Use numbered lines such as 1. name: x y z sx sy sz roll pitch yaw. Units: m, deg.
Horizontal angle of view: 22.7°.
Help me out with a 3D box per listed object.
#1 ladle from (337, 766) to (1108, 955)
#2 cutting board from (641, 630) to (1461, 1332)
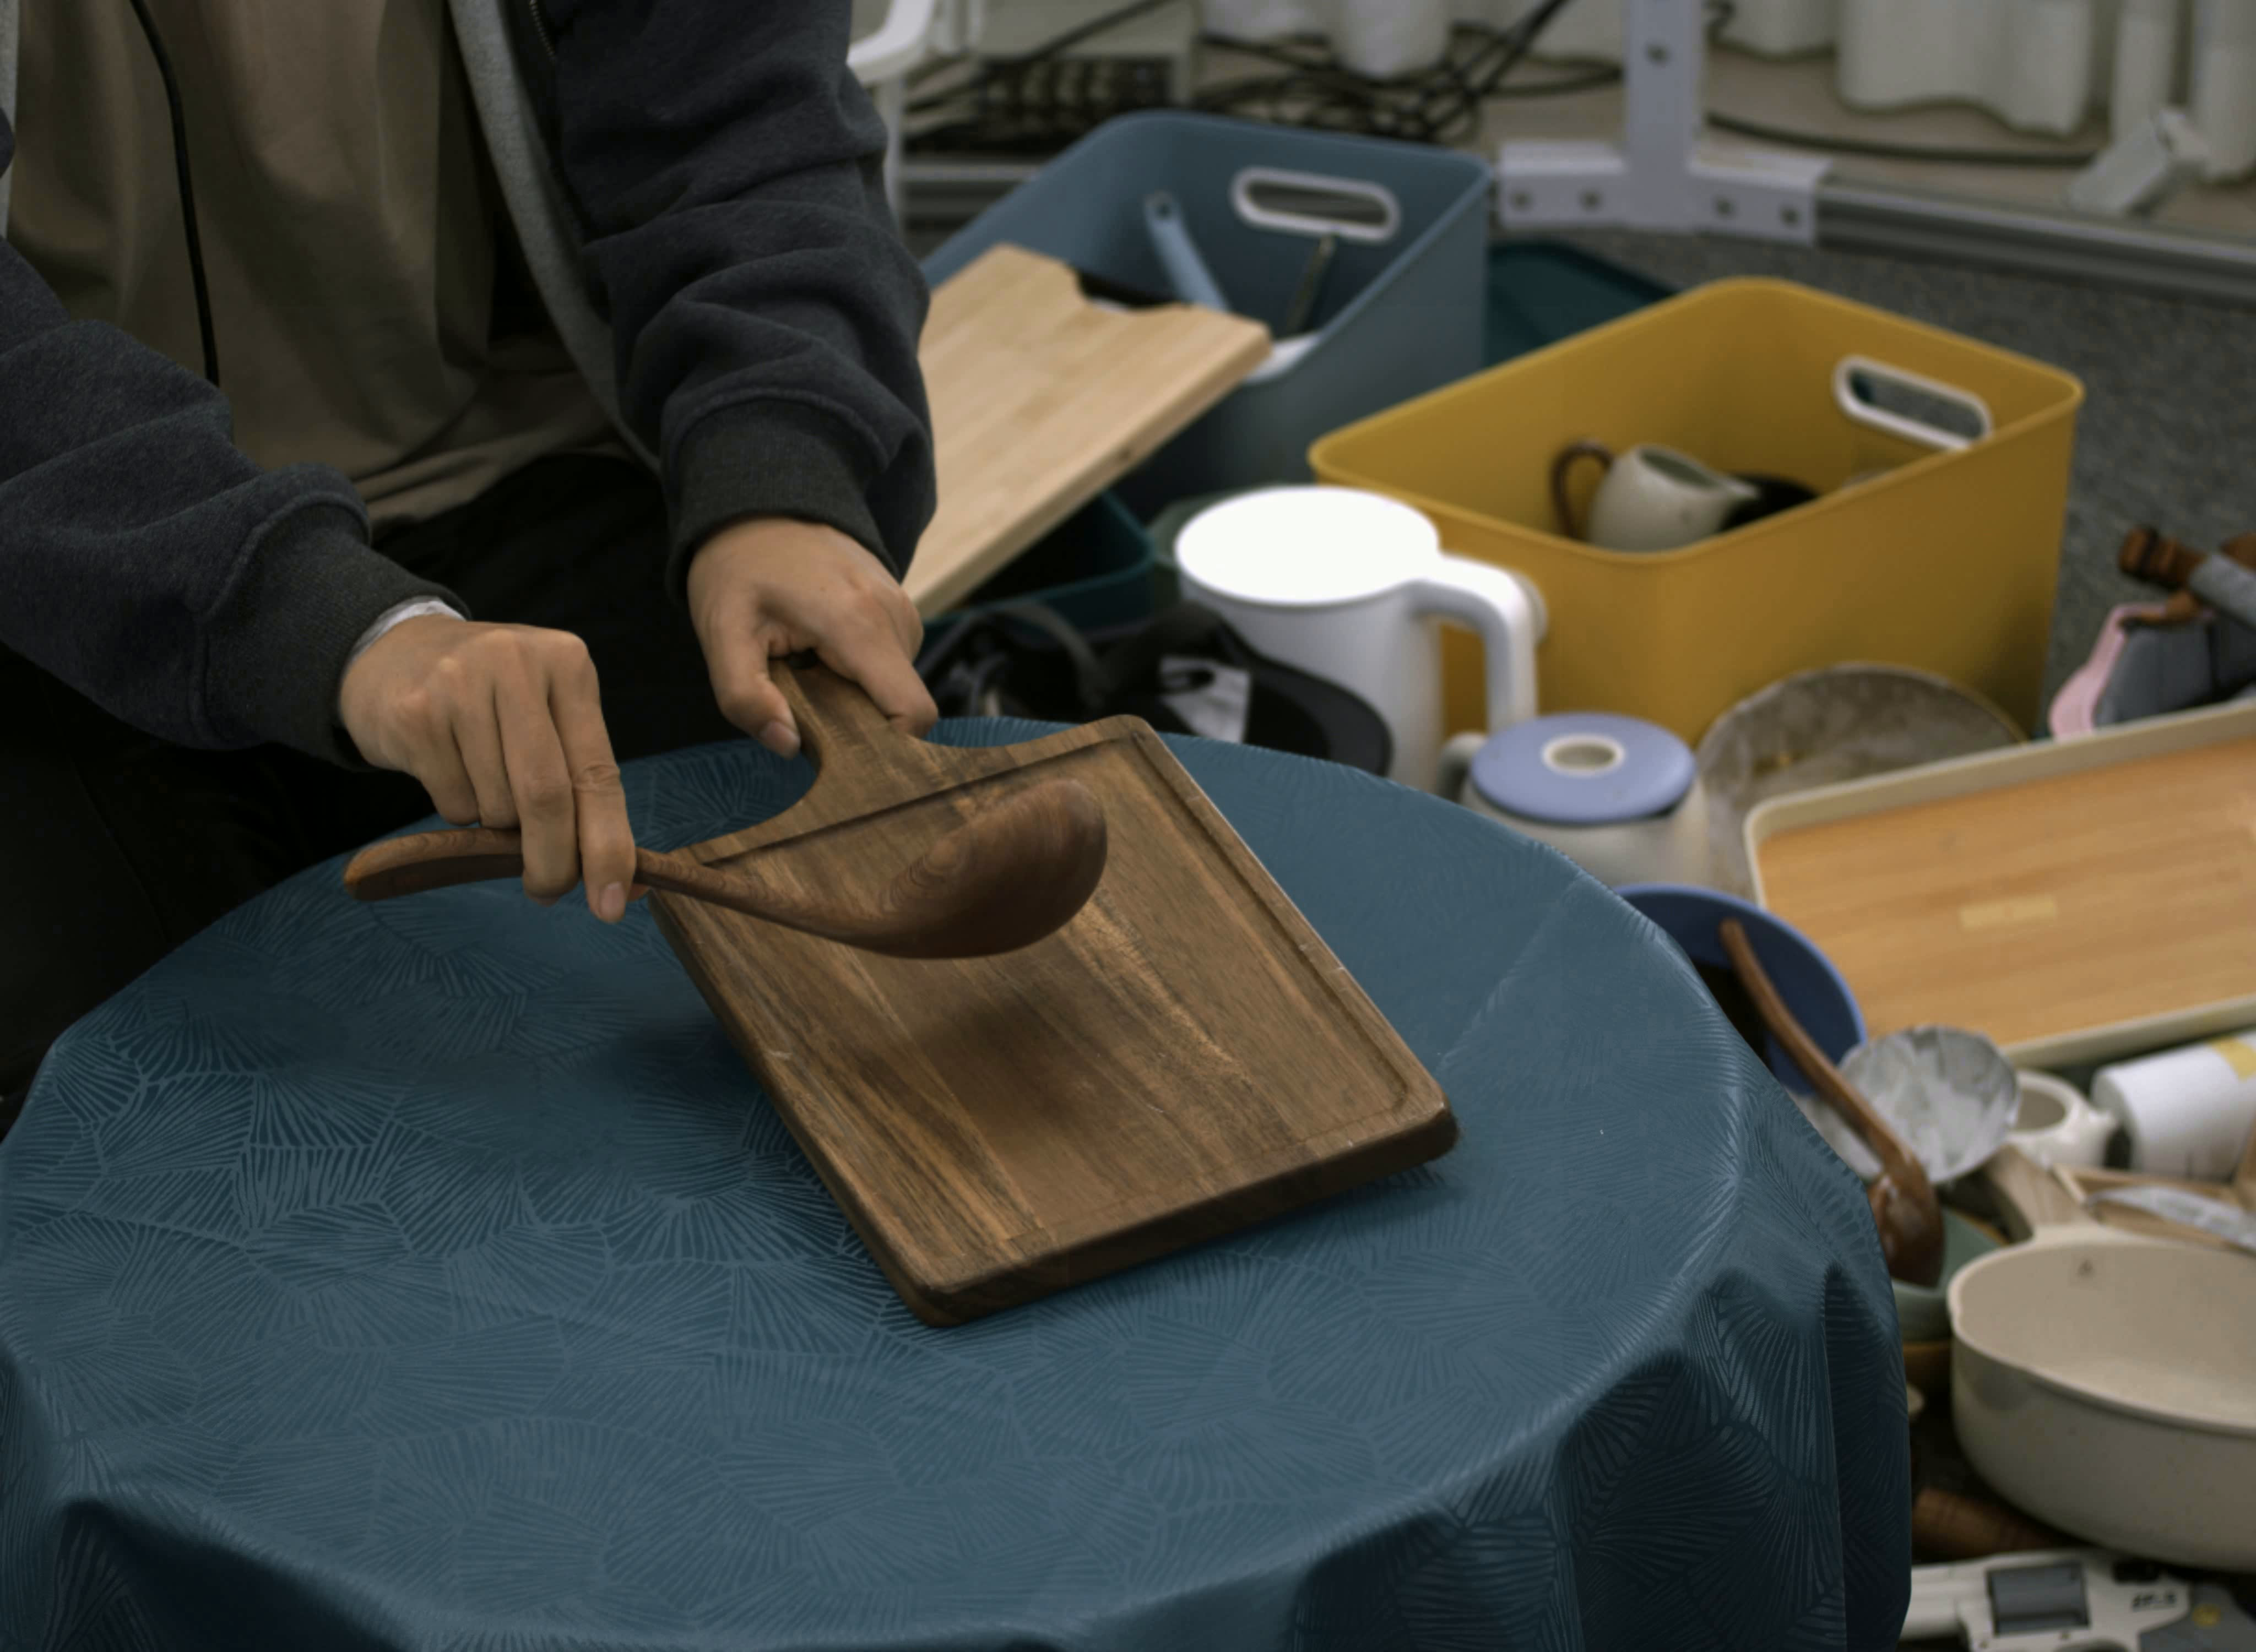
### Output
1. ladle: -0.136 0.006 1.885 0.258 0.075 0.066 5 62 11
2. cutting board: -0.051 0.033 1.943 0.202 0.023 0.355 -16 40 -20
